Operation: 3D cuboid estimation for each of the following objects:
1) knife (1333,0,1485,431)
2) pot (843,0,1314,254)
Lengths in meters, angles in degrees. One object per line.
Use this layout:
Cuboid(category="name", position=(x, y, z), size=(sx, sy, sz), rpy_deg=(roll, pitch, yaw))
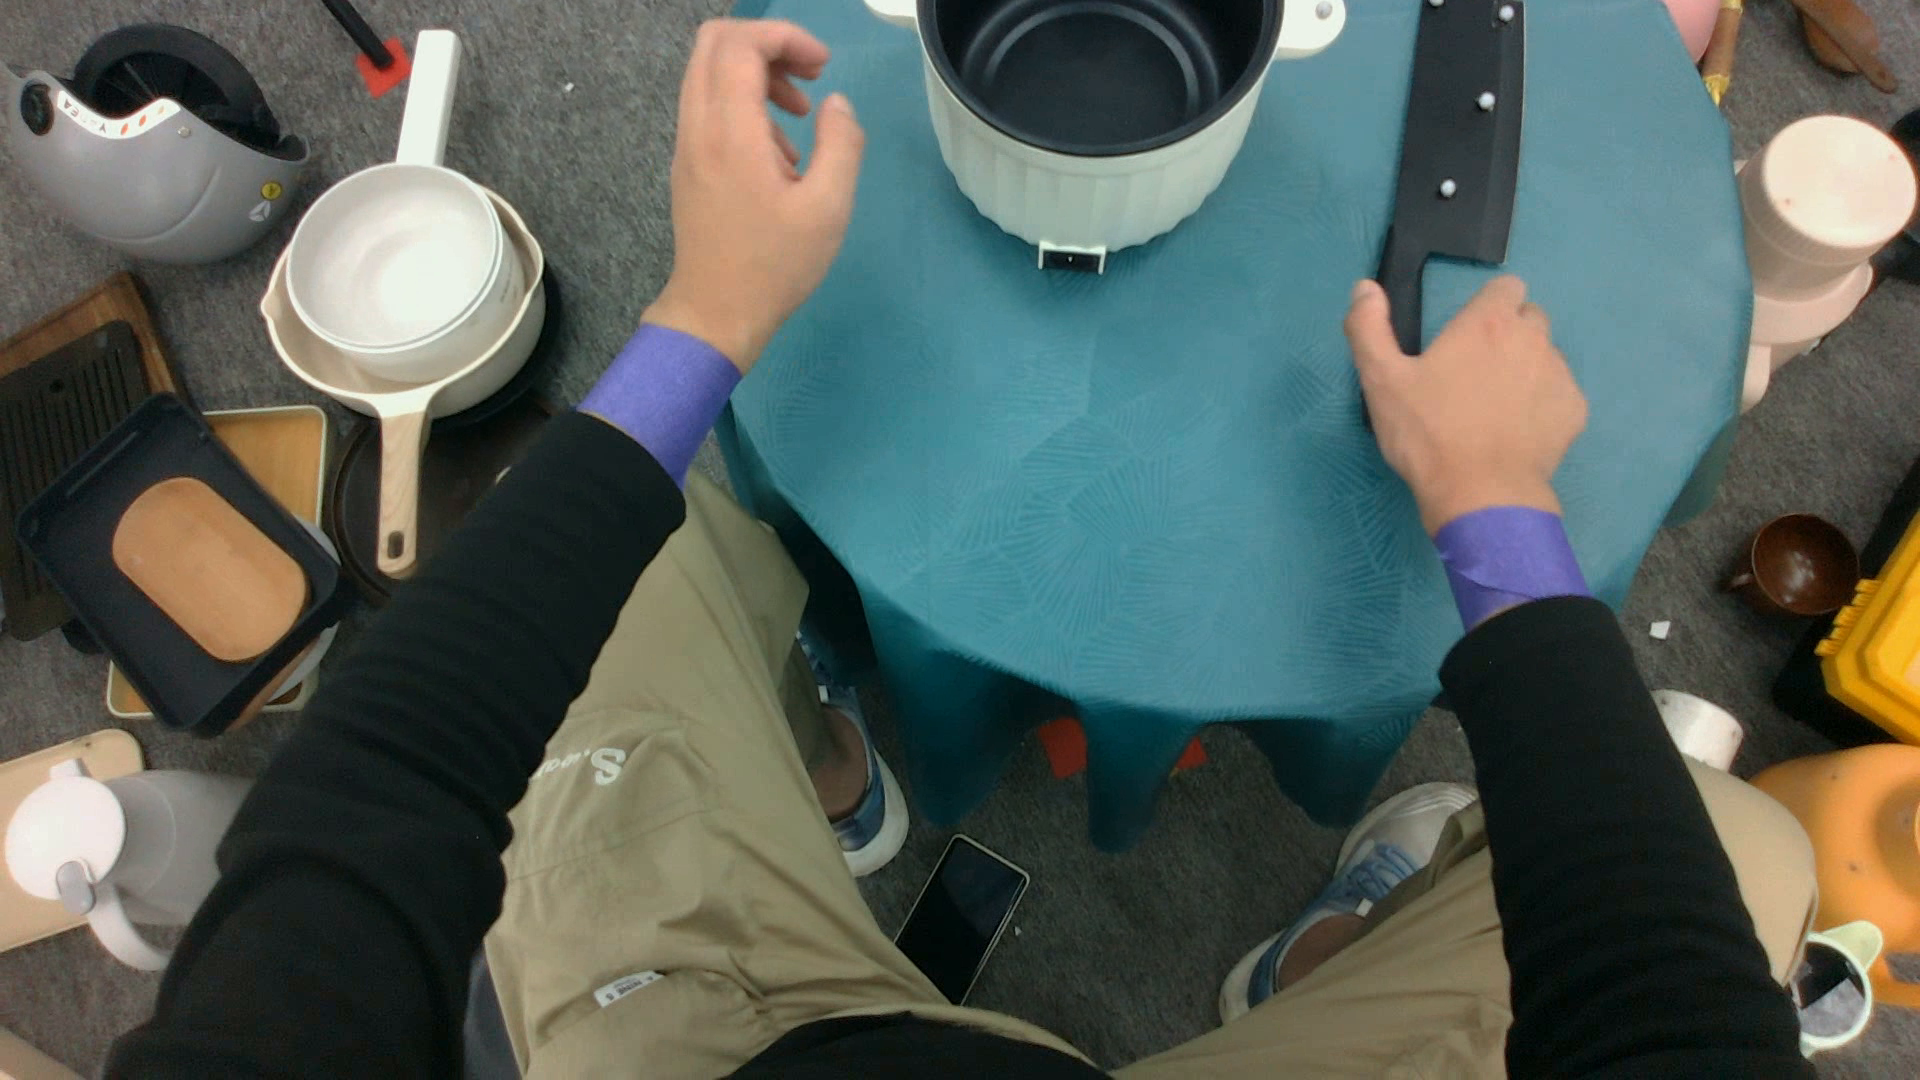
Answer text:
Cuboid(category="knife", position=(0.260, -0.202, 0.788), size=(0.081, 0.021, 0.303), rpy_deg=(16, 73, 4))
Cuboid(category="pot", position=(0.056, -0.268, 0.745), size=(0.240, 0.142, 0.191), rpy_deg=(5, 78, 1))
